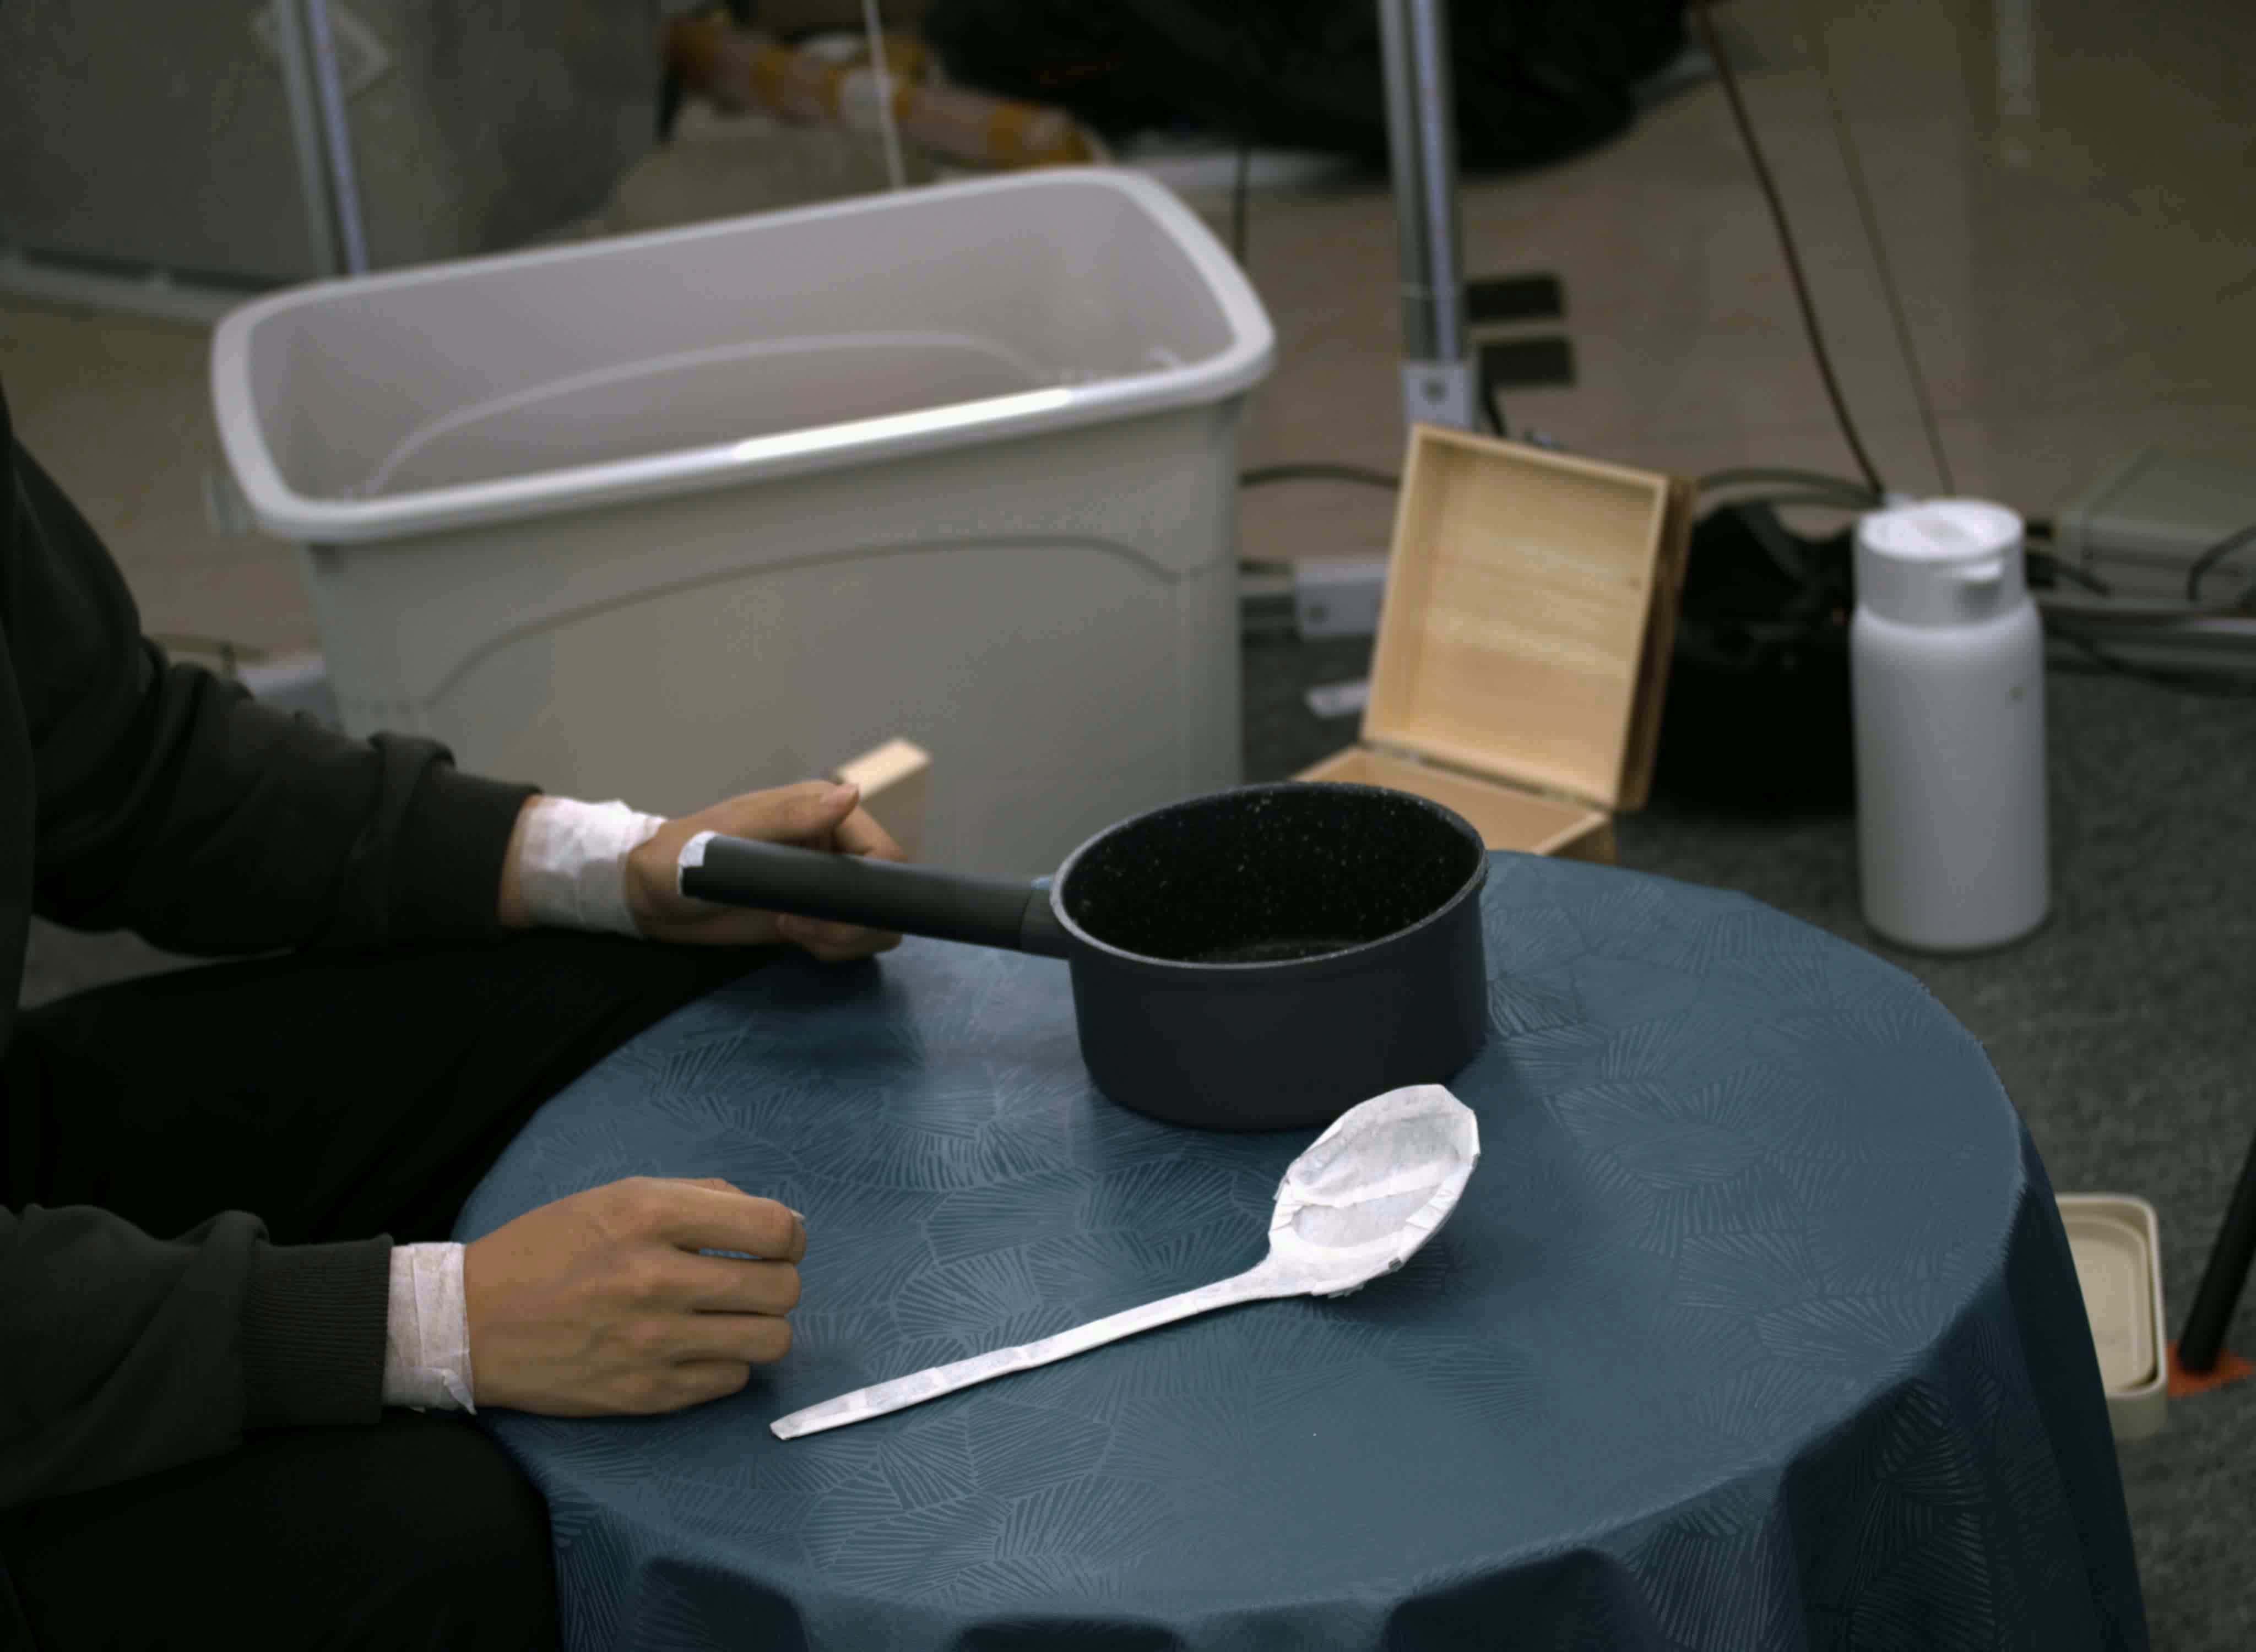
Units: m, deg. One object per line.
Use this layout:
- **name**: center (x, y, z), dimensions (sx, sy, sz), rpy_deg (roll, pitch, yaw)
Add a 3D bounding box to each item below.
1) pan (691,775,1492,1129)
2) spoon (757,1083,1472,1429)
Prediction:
- **pan**: center (-0.016, 0.046, 2.256), dimensions (0.328, 0.088, 0.169), rpy_deg (3, 25, 18)
- **spoon**: center (-0.006, 0.155, 2.051), dimensions (0.276, 0.060, 0.099), rpy_deg (-14, 23, -14)
